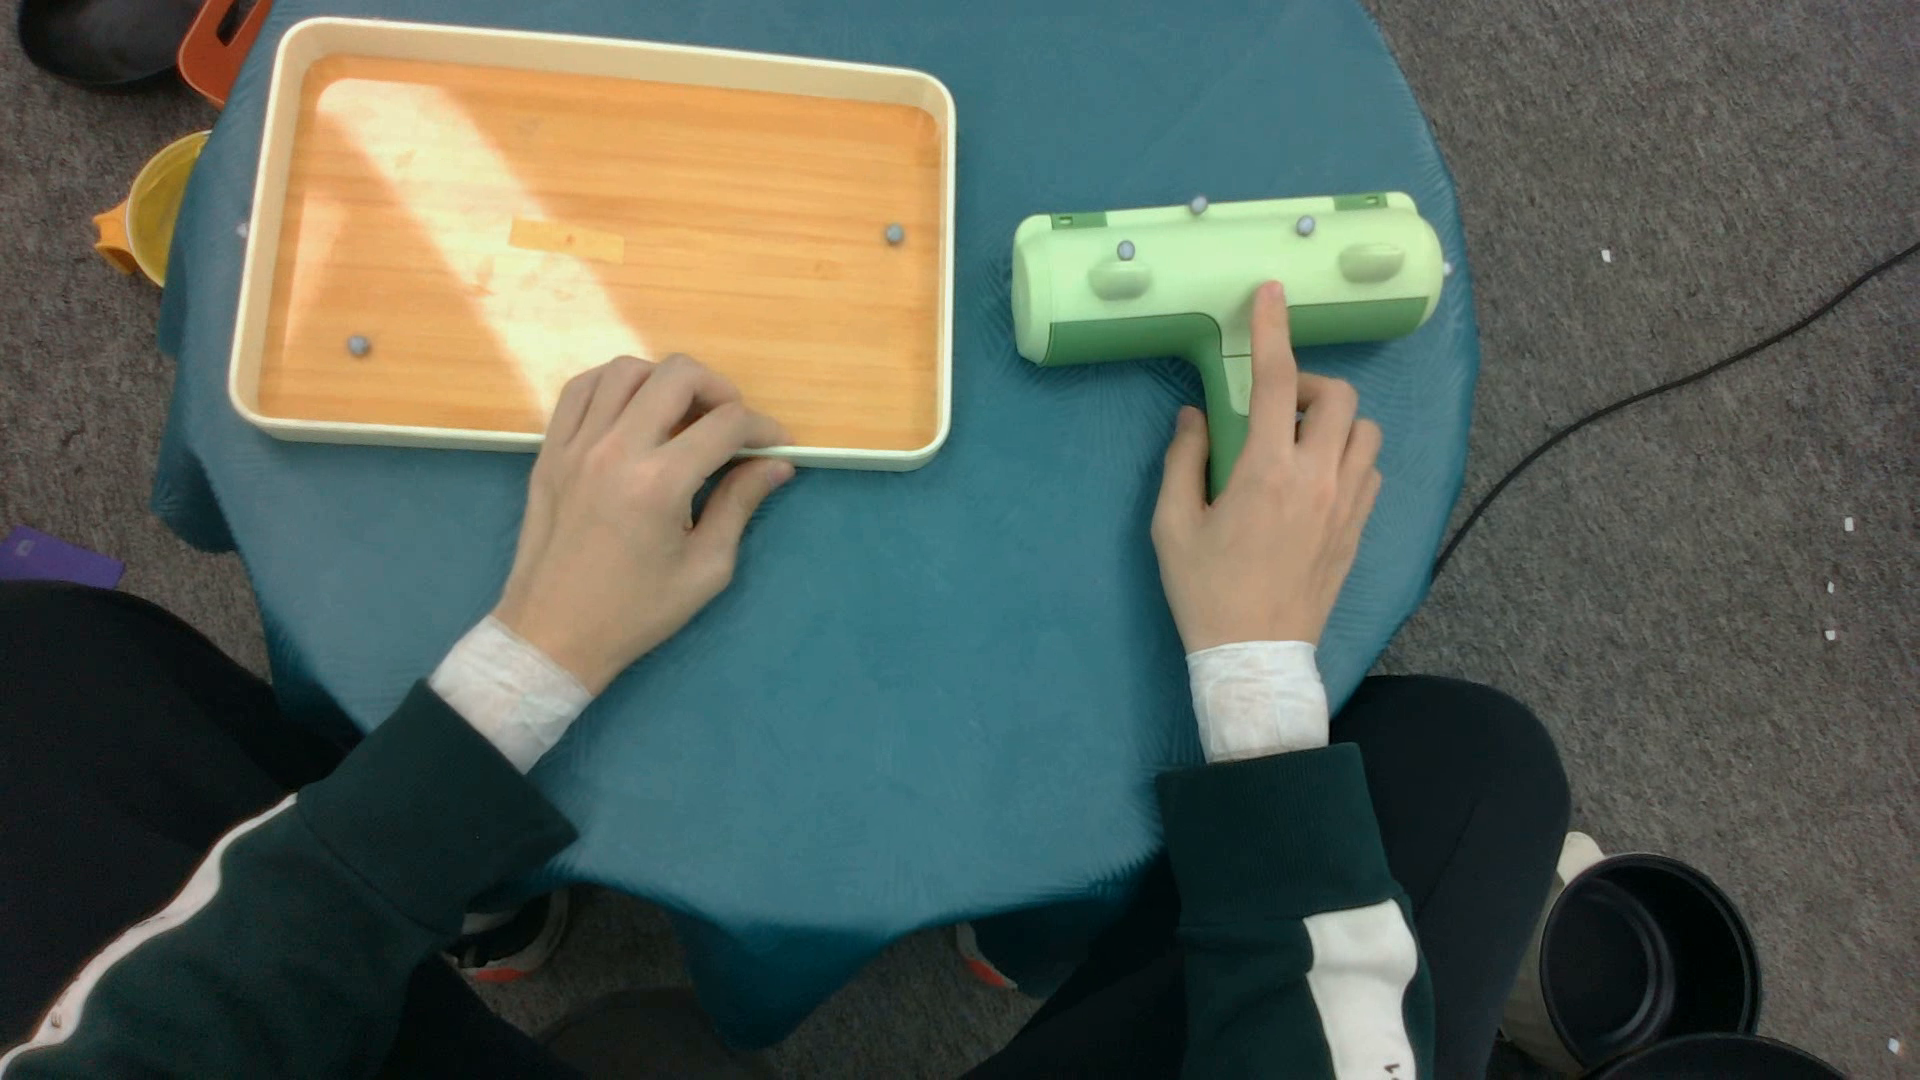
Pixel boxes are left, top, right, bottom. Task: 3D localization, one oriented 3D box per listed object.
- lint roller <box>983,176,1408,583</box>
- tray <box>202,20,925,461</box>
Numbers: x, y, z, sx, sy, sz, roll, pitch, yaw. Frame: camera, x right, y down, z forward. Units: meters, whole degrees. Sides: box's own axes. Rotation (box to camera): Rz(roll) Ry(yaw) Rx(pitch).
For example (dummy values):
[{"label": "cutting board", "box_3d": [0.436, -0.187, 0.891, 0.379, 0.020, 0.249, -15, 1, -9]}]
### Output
[{"label": "lint roller", "box_3d": [0.119, -0.077, 0.622, 0.199, 0.082, 0.183, -6, 74, -10]}, {"label": "tray", "box_3d": [-0.166, -0.132, 0.615, 0.300, 0.027, 0.192, 1, 77, -9]}]
